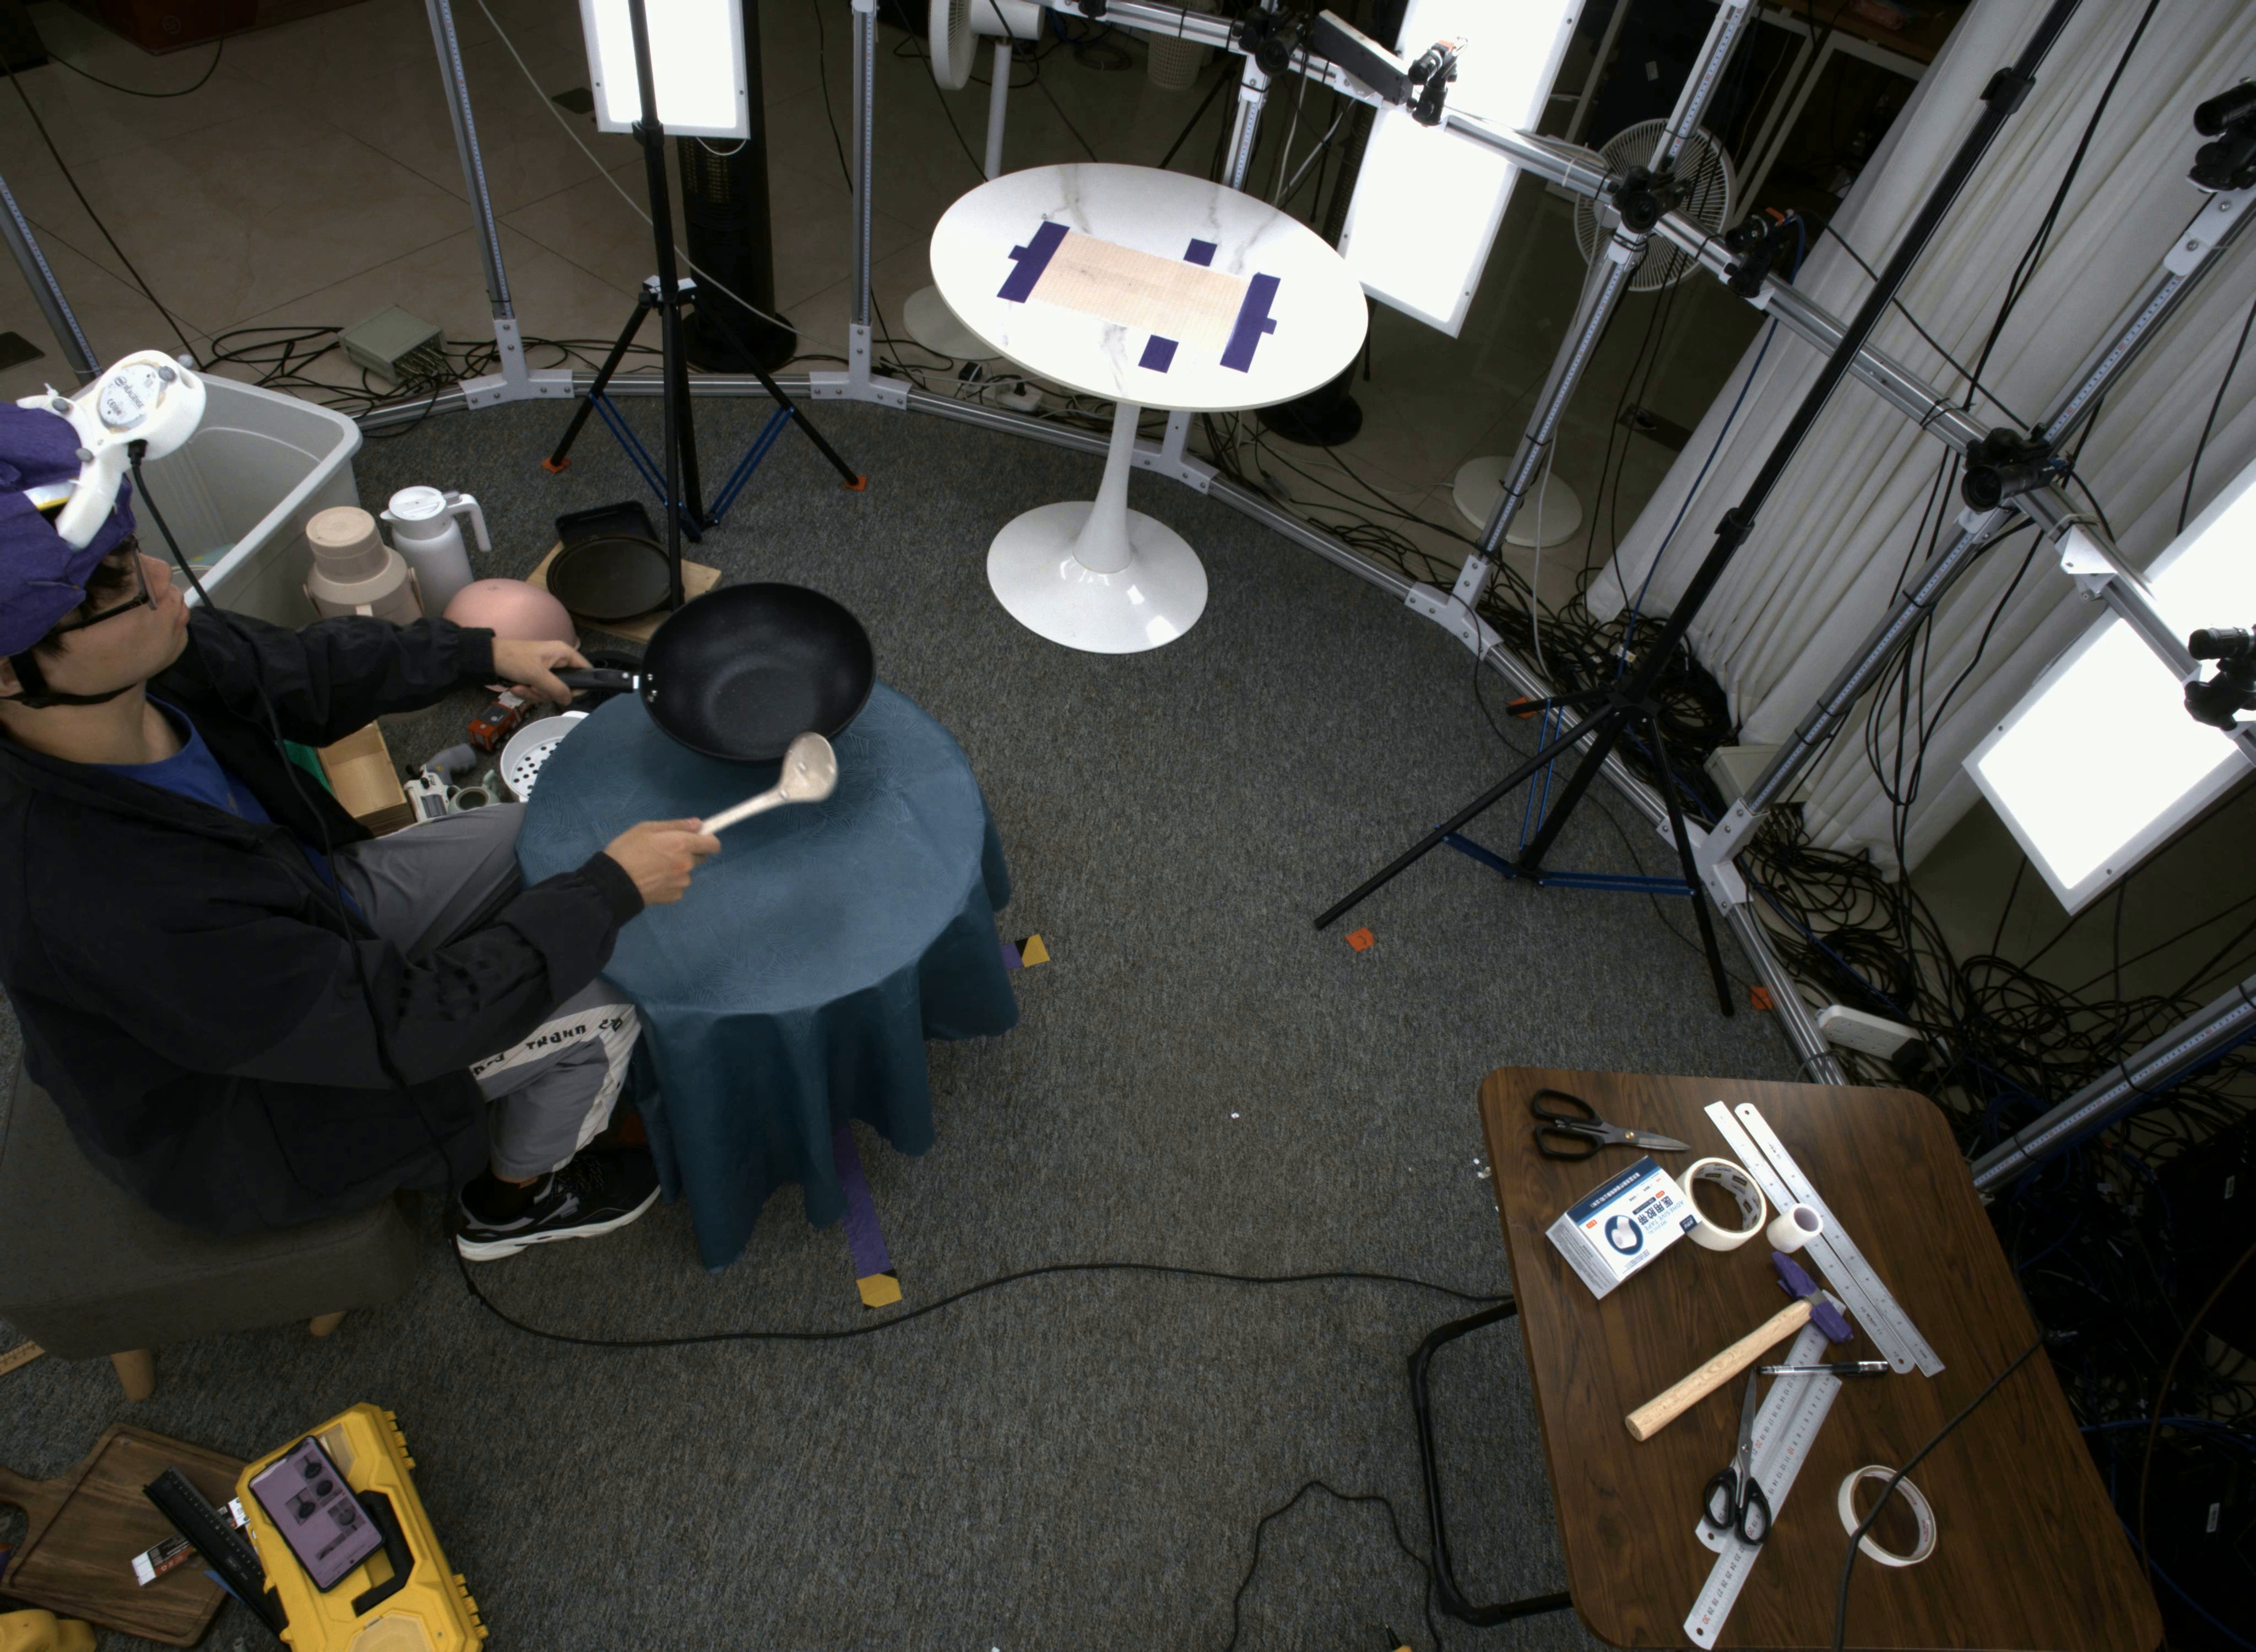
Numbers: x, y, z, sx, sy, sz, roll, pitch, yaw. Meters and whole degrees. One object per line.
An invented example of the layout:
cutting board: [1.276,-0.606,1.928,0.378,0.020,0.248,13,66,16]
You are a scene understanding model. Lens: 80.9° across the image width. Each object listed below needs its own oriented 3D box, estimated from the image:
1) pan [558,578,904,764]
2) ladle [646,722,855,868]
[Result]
pan: [-0.538,-0.193,1.726,0.477,0.114,0.304,-6,58,-13]
ladle: [-0.446,-0.038,1.518,0.276,0.071,0.086,-29,57,-29]
